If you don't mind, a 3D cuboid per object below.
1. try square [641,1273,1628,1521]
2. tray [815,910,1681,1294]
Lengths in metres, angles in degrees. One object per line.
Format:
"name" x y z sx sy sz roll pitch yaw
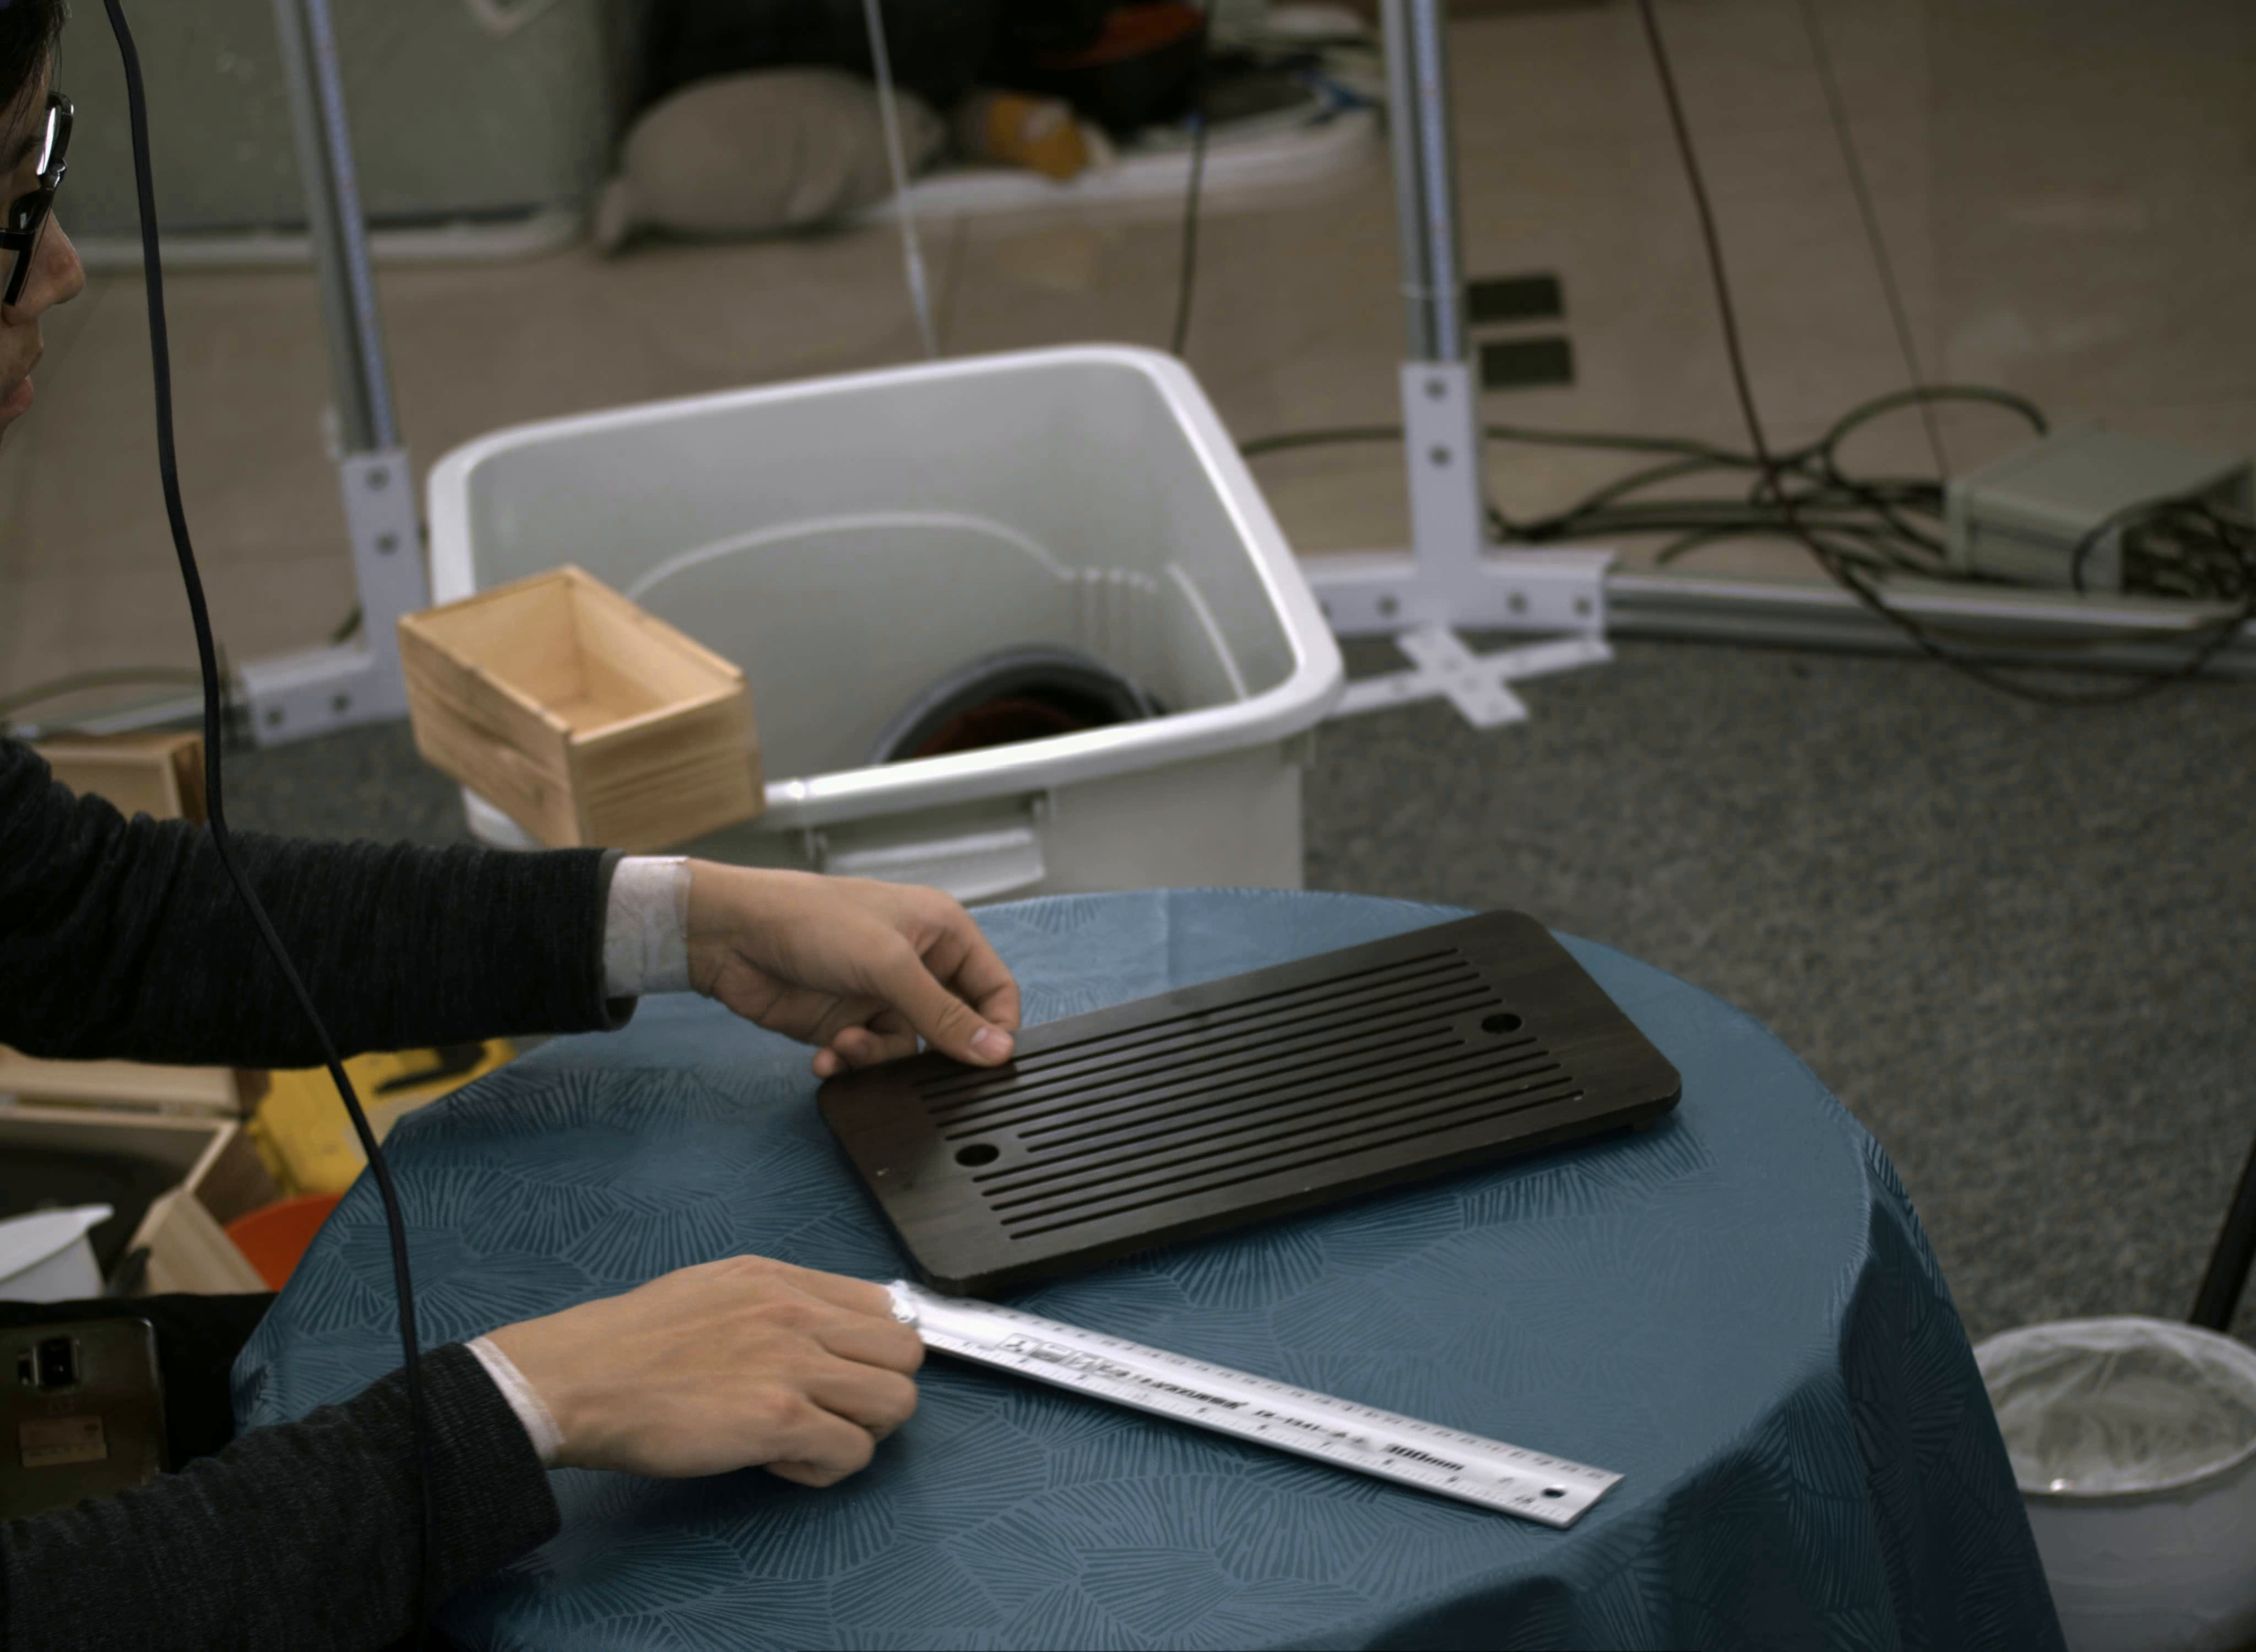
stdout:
"try square" -0.001 0.216 1.957 0.311 0.016 0.151 12 26 32
"tray" 0.044 0.105 2.182 0.305 0.019 0.168 -13 28 -14
